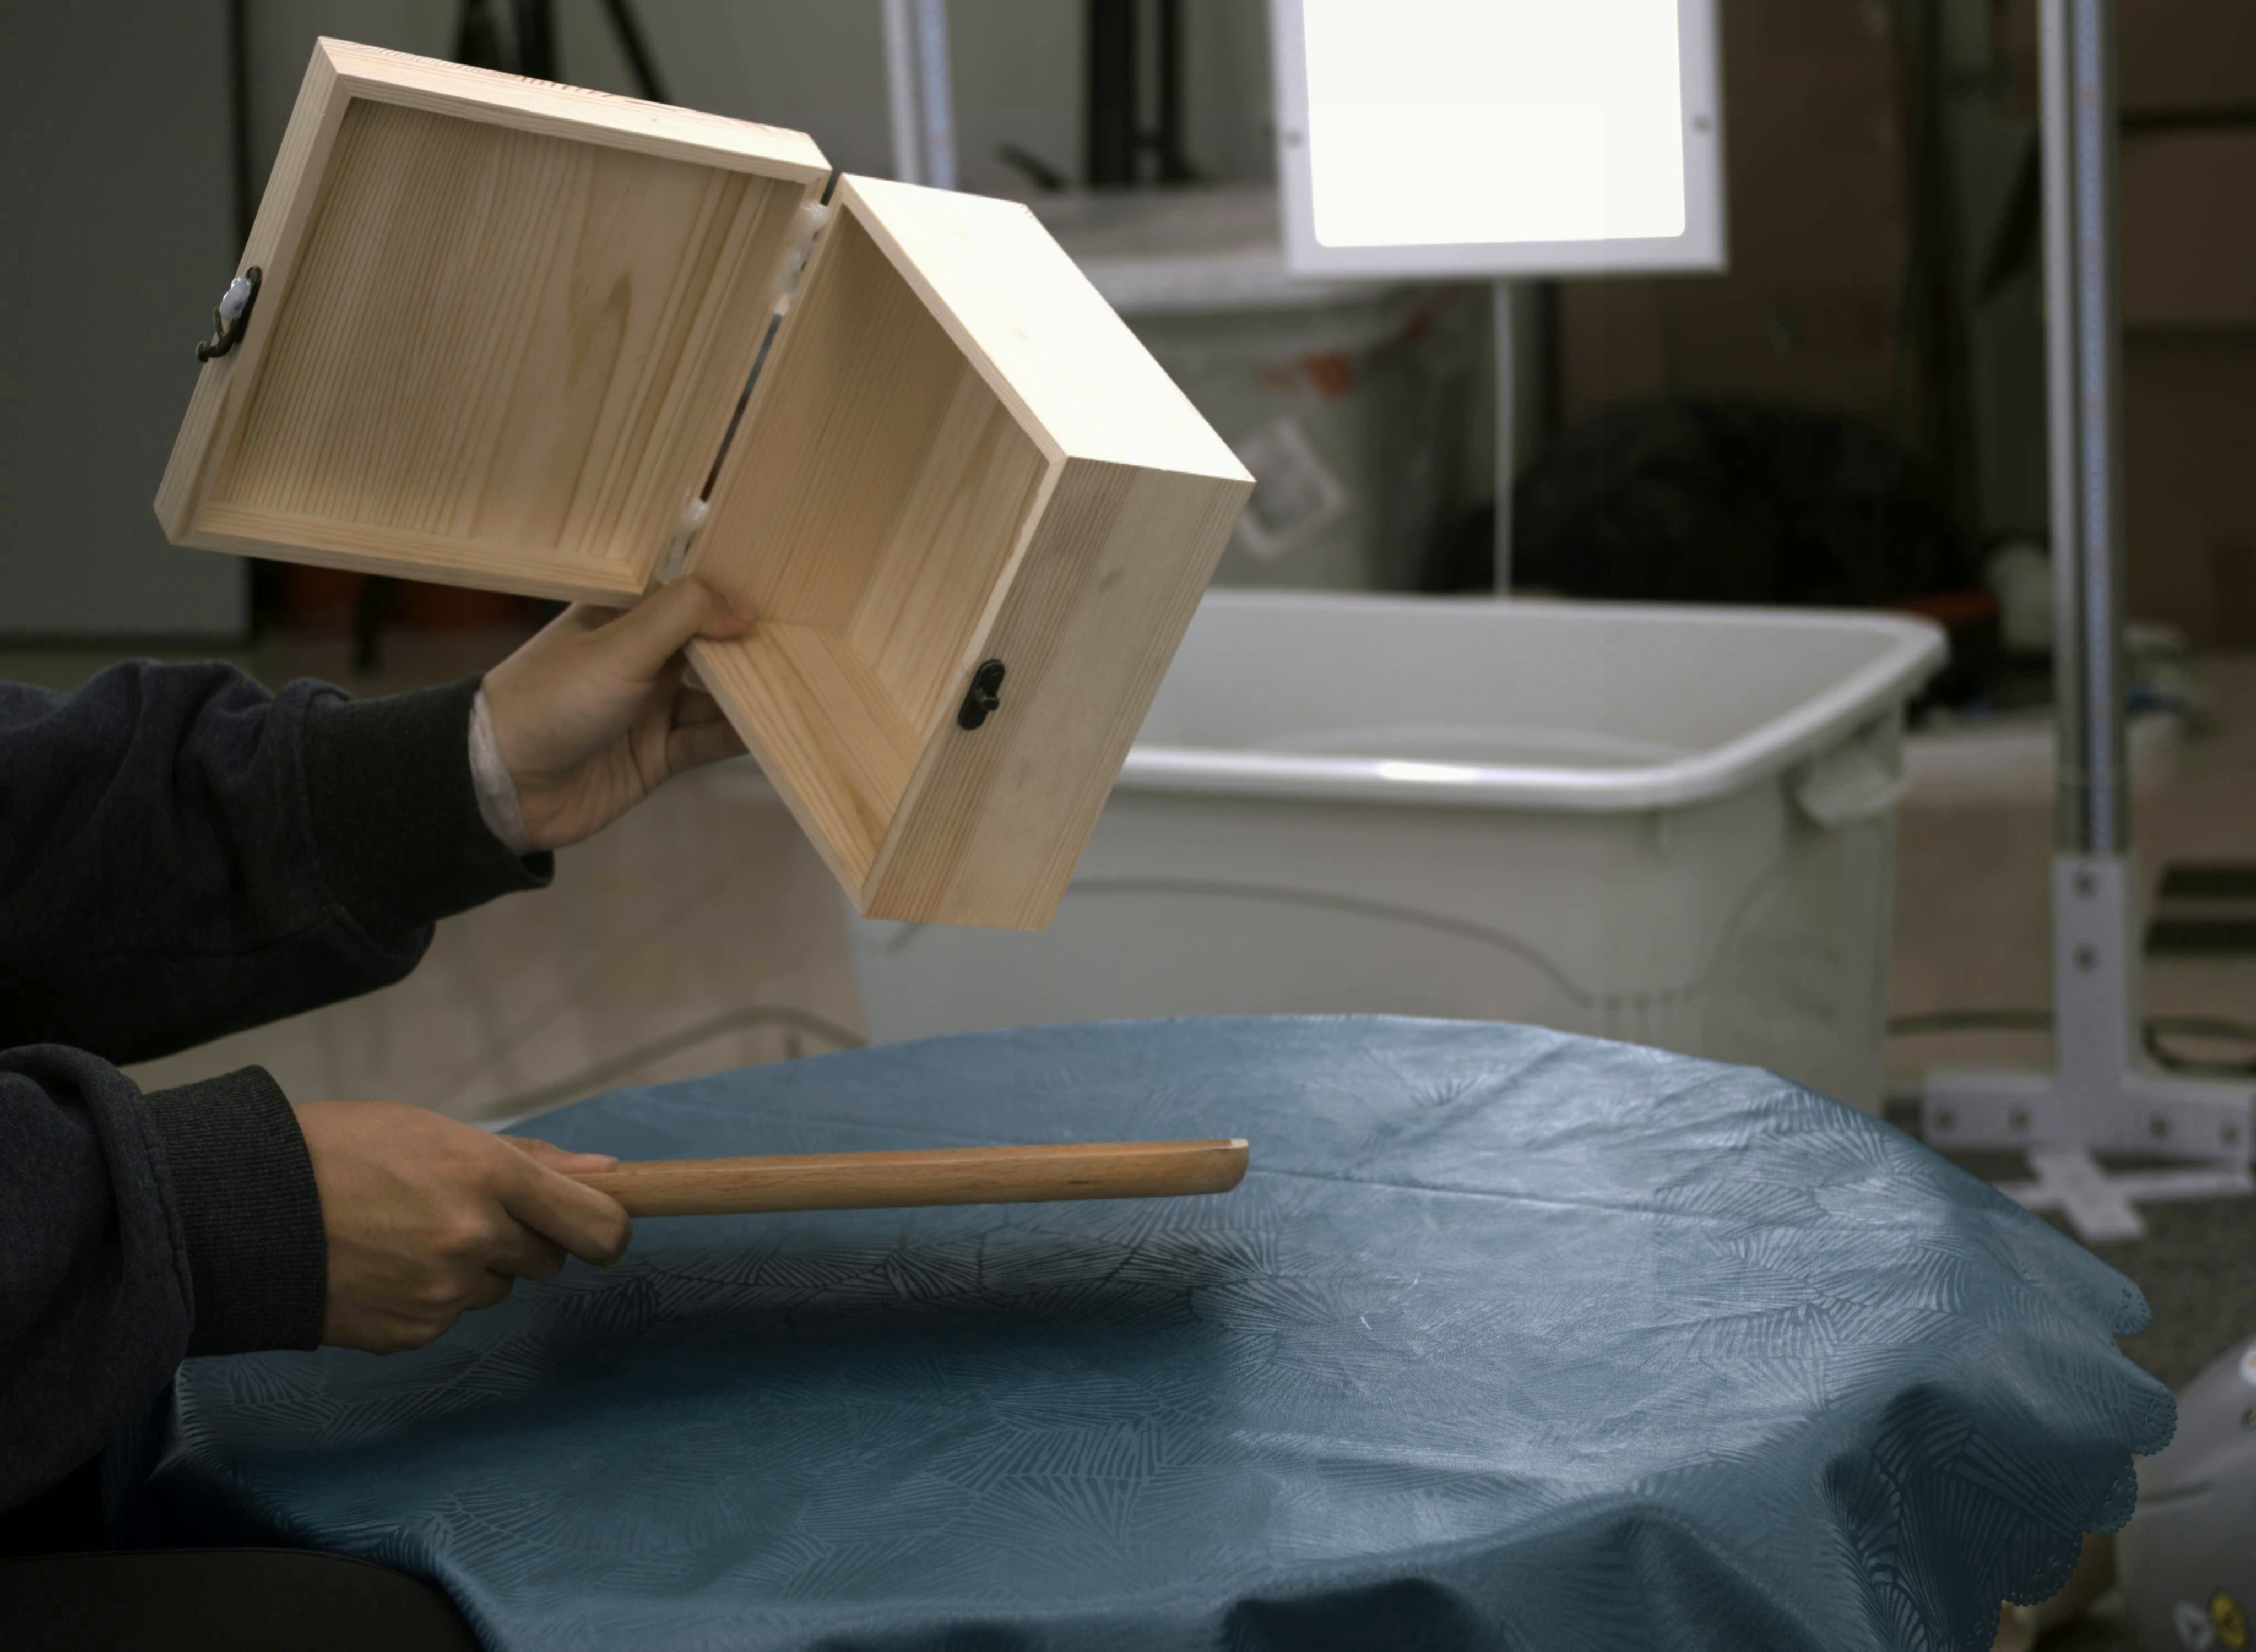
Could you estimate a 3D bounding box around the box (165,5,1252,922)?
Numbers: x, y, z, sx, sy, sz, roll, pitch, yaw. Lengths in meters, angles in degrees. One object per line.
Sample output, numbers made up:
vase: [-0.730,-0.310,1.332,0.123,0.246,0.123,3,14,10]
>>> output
box: [-0.147,-0.117,1.822,0.247,0.184,0.268,3,33,-31]

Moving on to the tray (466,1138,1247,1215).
tray: [-0.086,0.114,1.789,0.251,0.023,0.130,-3,-5,3]
